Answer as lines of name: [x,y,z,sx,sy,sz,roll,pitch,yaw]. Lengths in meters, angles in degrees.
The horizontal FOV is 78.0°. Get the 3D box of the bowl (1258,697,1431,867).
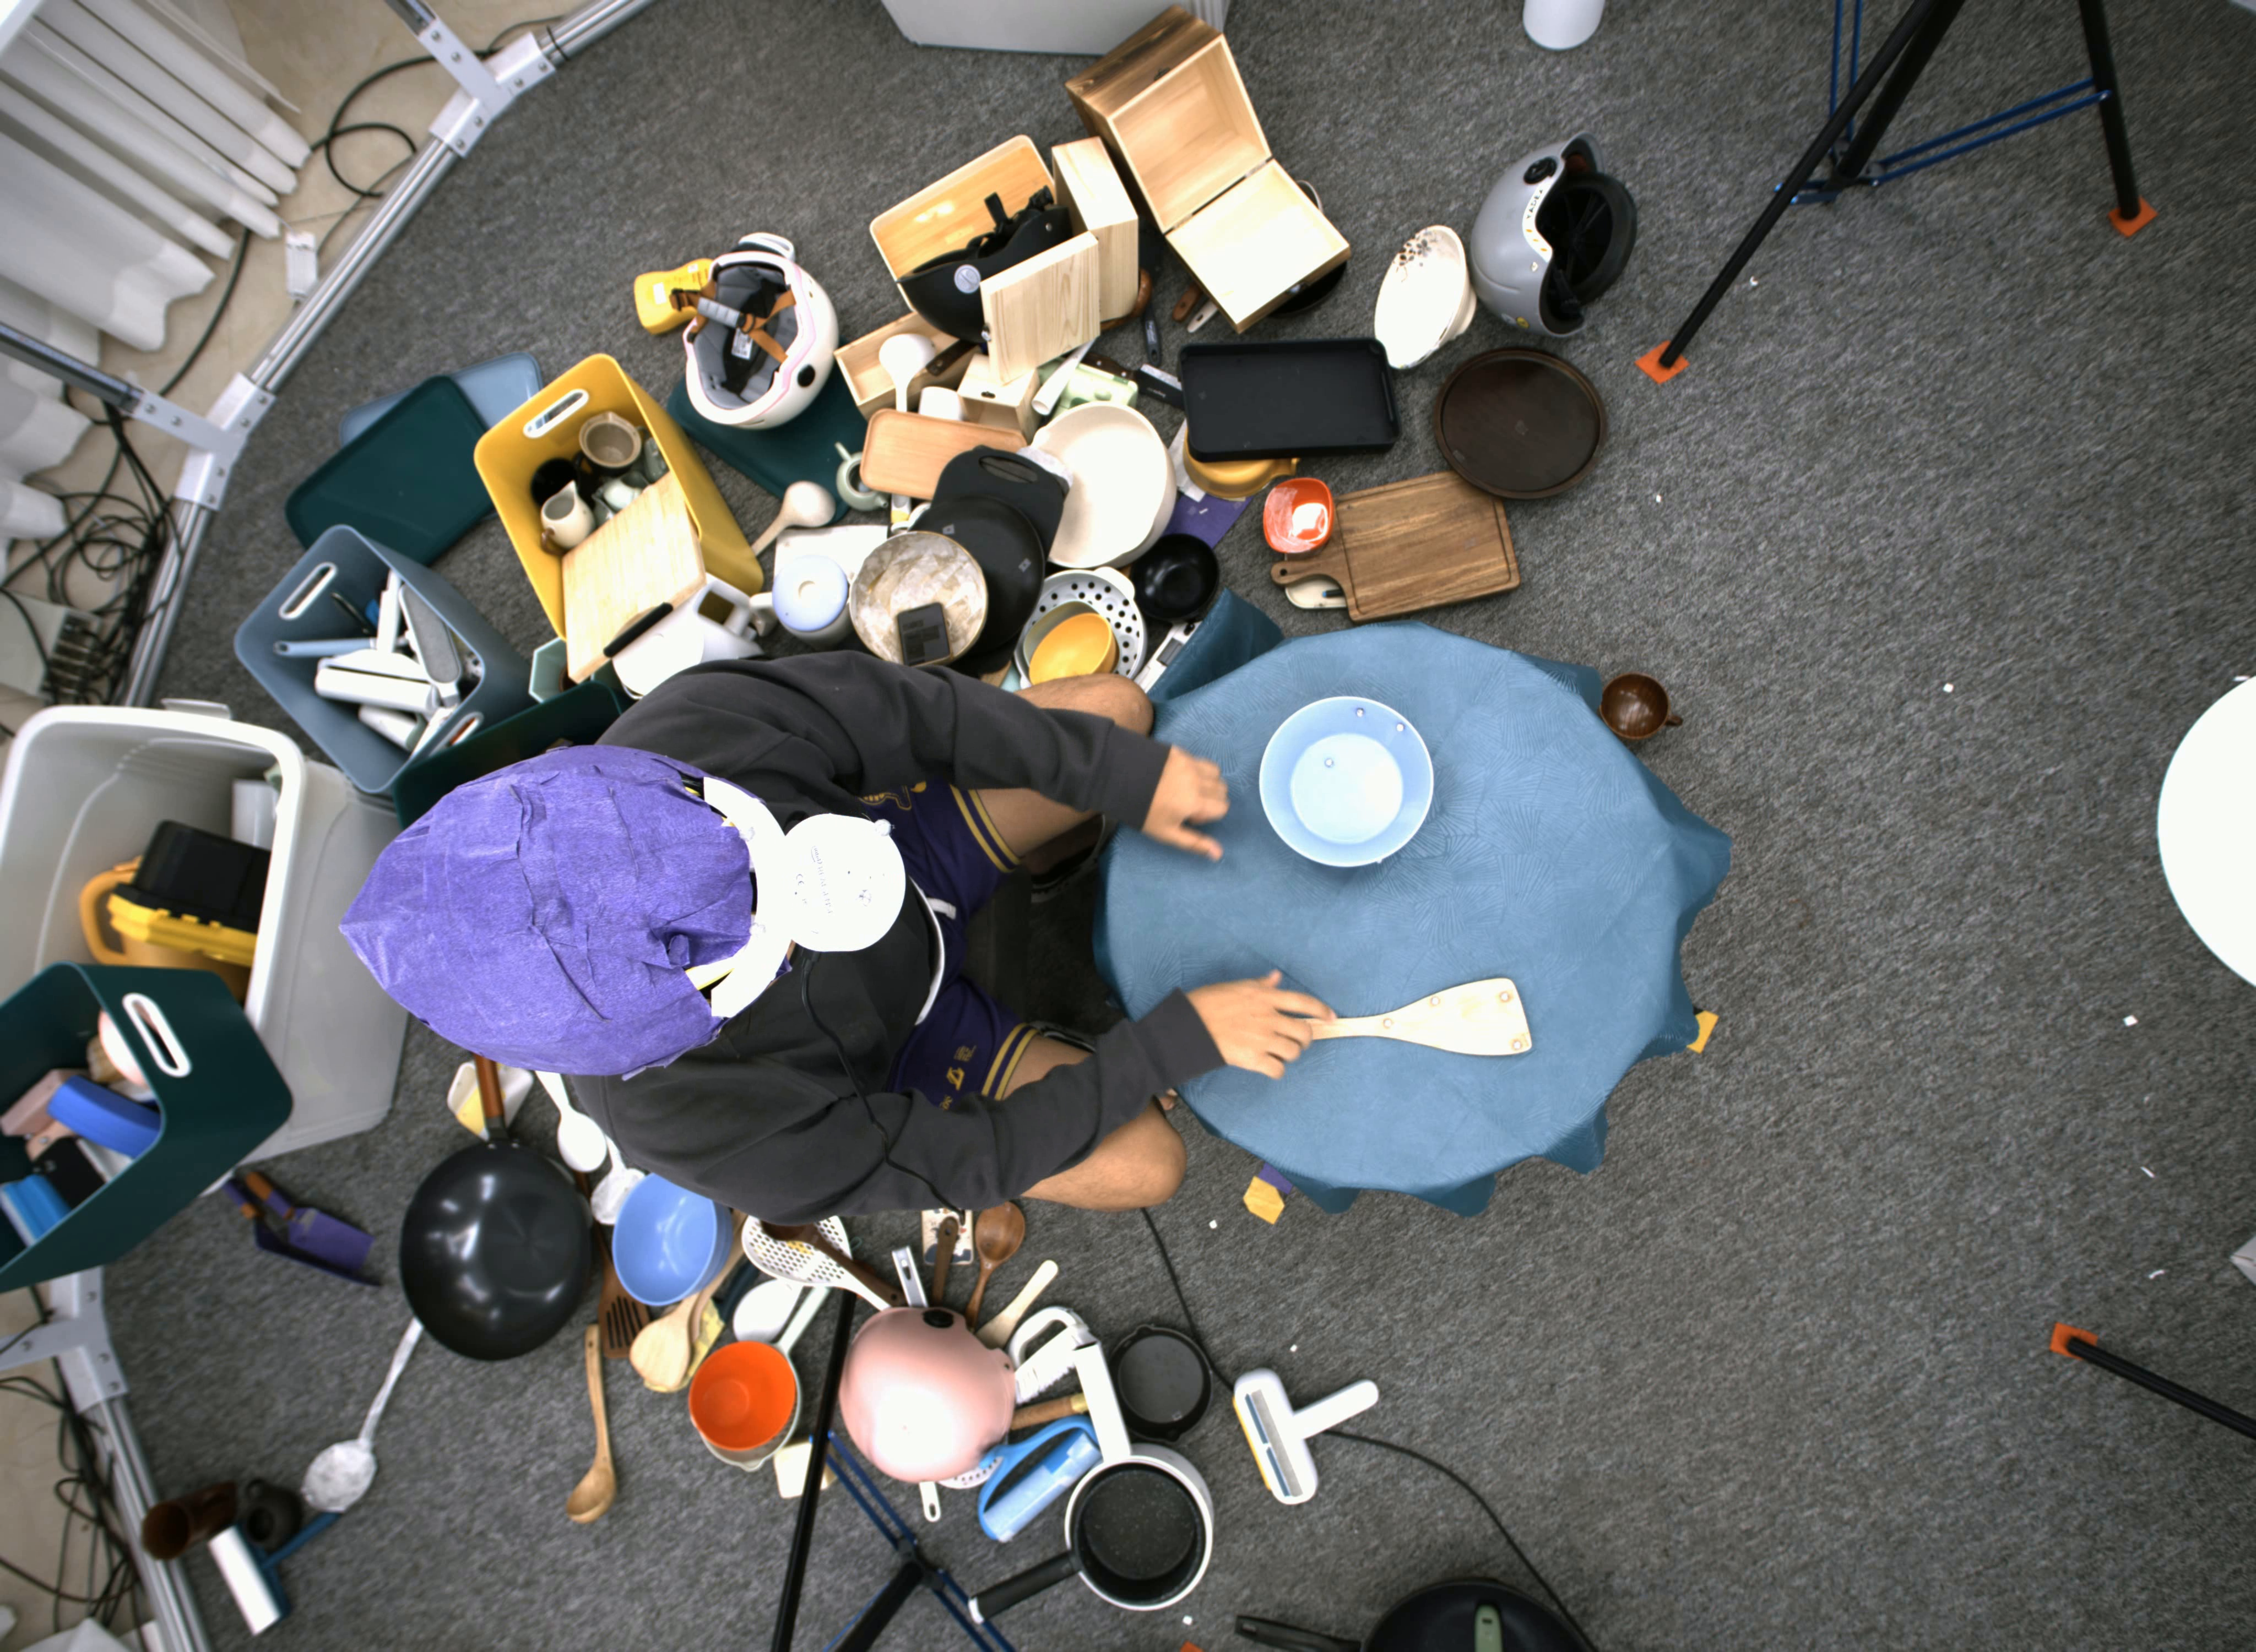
bowl: [0.225,-0.044,1.438,0.177,0.070,0.175,-1,86,10]

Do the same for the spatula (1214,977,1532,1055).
spatula: [0.252,0.206,1.447,0.329,0.016,0.079,-5,87,10]
